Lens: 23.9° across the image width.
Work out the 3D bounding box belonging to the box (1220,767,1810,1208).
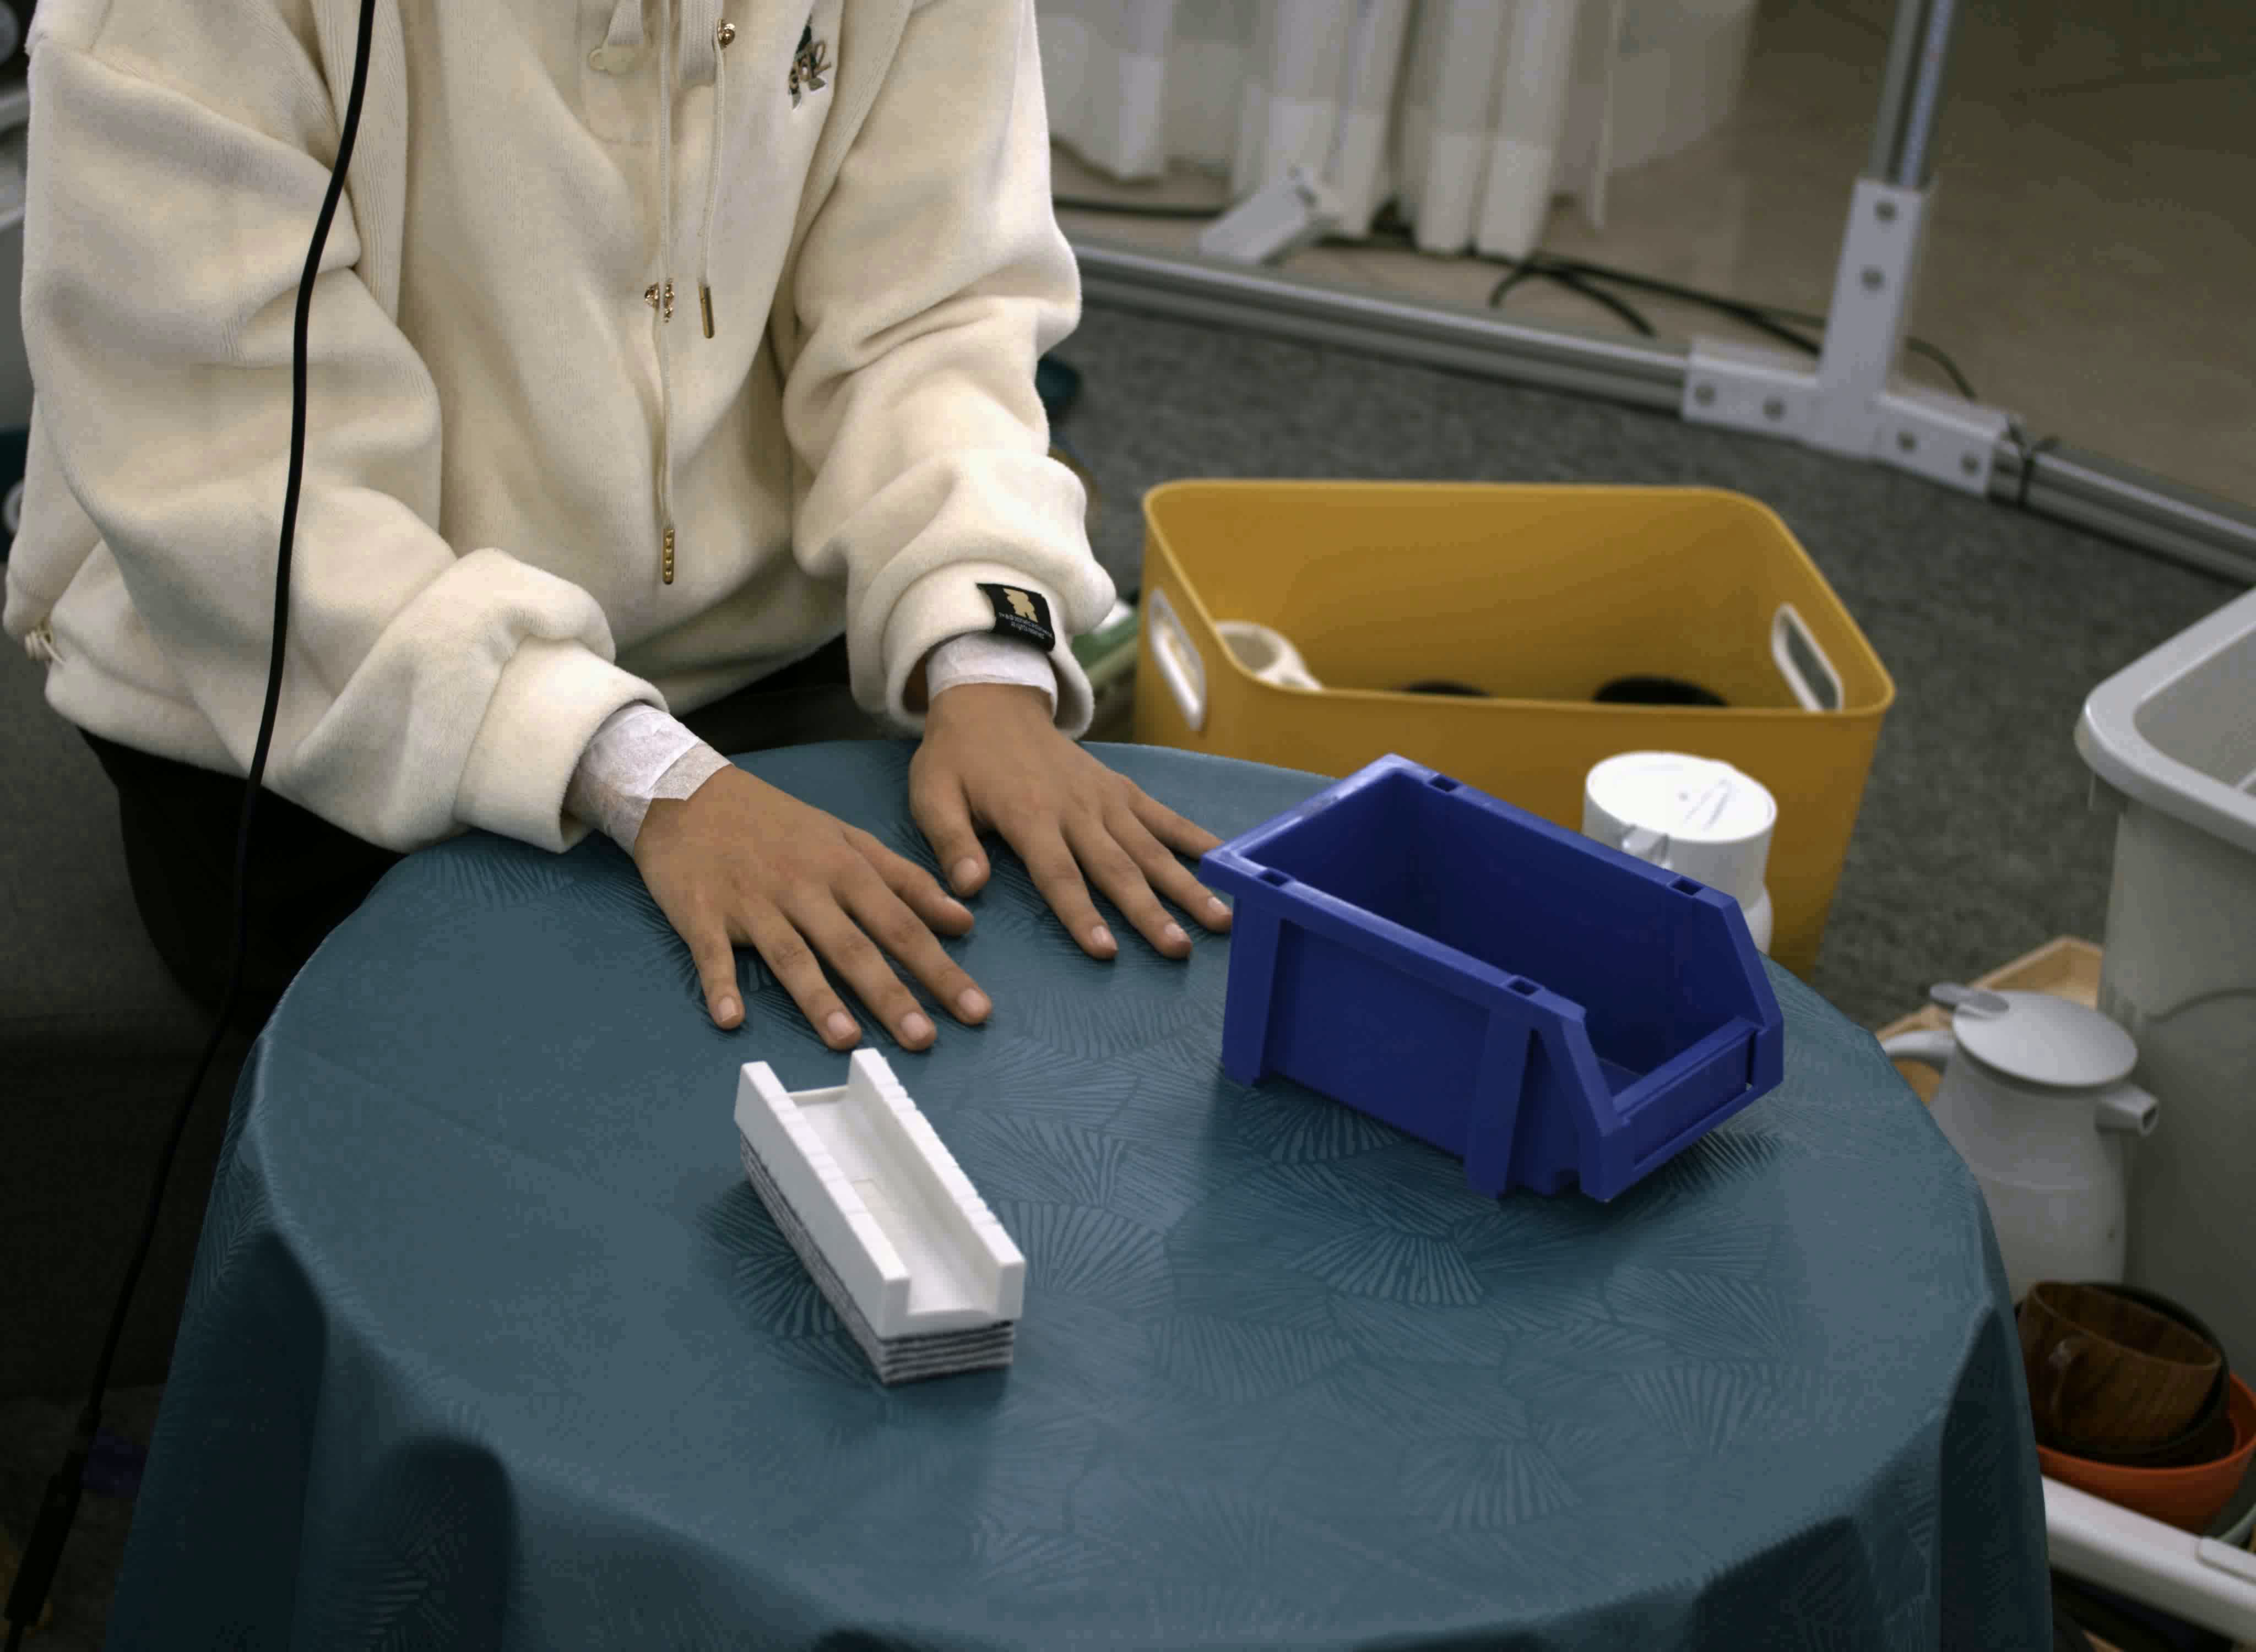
[{"bbox_3d":[0.137,0.060,1.867,0.180,0.081,0.124,23,31,33],"label":"box"}]

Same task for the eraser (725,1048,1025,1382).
[{"bbox_3d":[-0.084,0.125,1.728,0.049,0.046,0.135,-9,32,-24],"label":"eraser"}]
